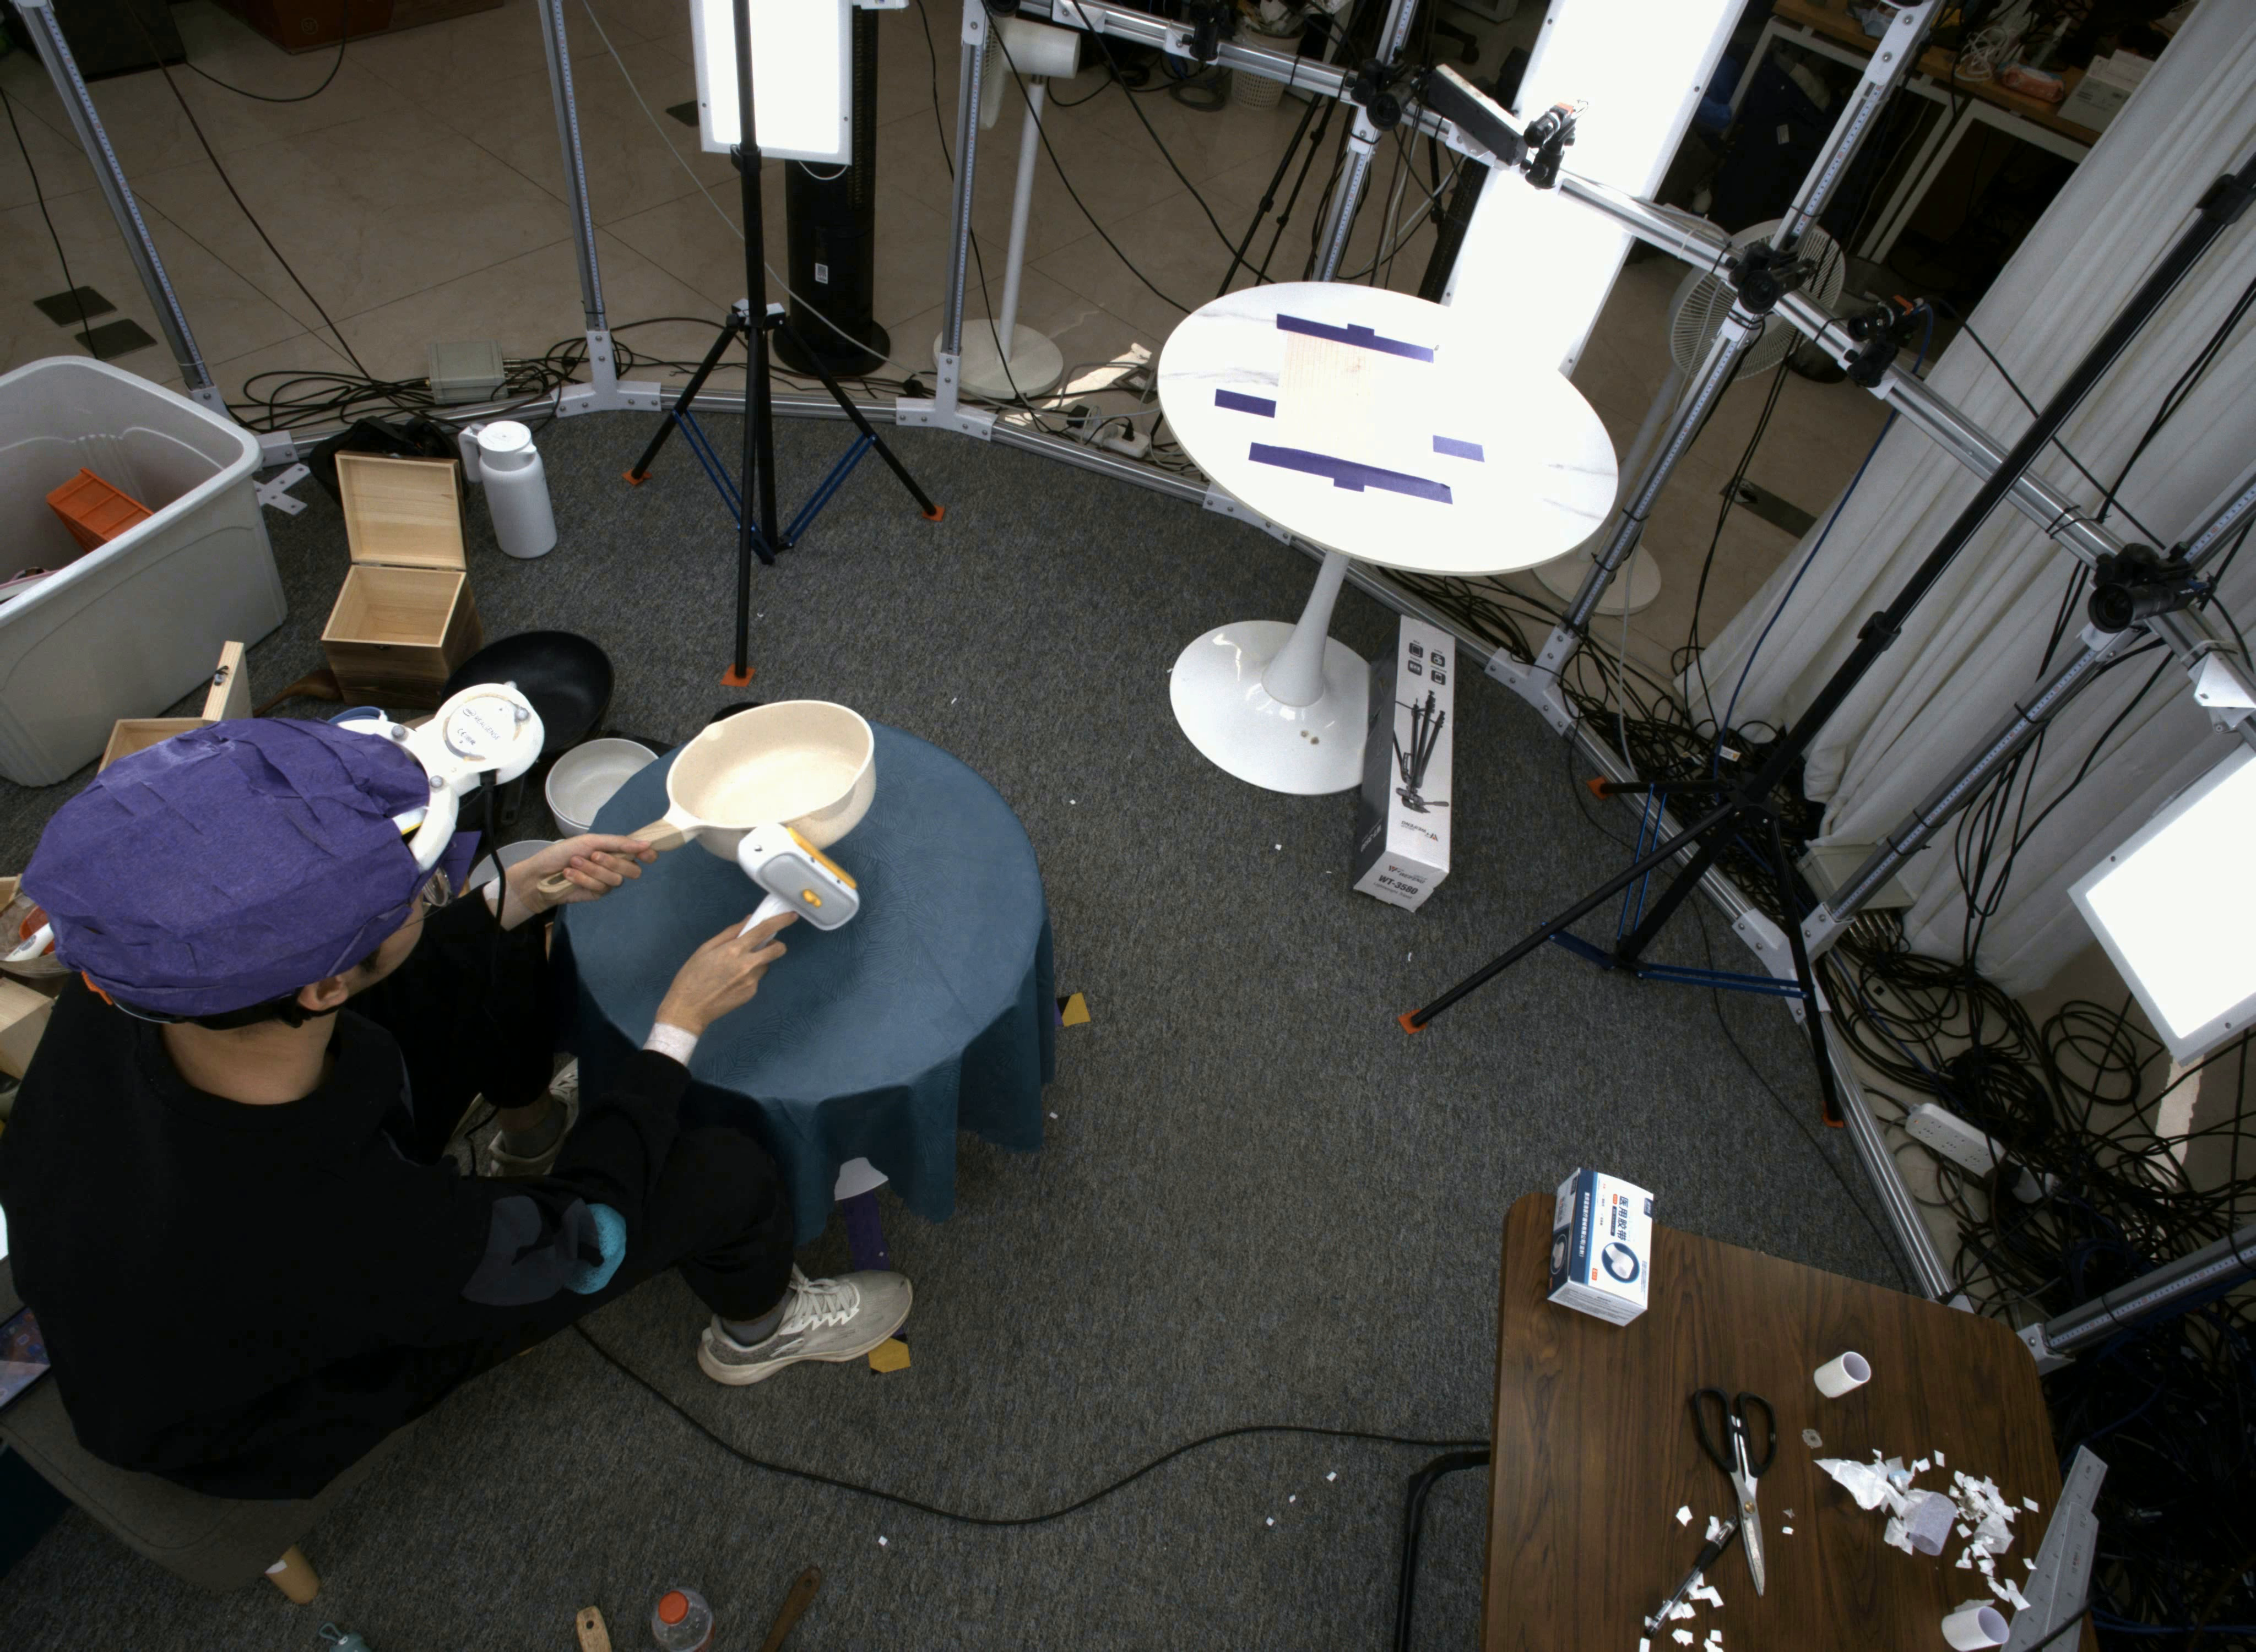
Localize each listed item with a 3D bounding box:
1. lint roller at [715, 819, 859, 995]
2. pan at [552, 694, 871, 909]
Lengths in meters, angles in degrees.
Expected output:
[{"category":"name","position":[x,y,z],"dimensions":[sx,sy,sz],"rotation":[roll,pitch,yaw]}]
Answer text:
[{"category":"lint roller","position":[-0.414,0.103,1.491],"dimensions":[0.072,0.199,0.192],"rotation":[40,86,28]},{"category":"pan","position":[-0.491,-0.009,1.523],"dimensions":[0.254,0.105,0.435],"rotation":[28,51,30]}]
